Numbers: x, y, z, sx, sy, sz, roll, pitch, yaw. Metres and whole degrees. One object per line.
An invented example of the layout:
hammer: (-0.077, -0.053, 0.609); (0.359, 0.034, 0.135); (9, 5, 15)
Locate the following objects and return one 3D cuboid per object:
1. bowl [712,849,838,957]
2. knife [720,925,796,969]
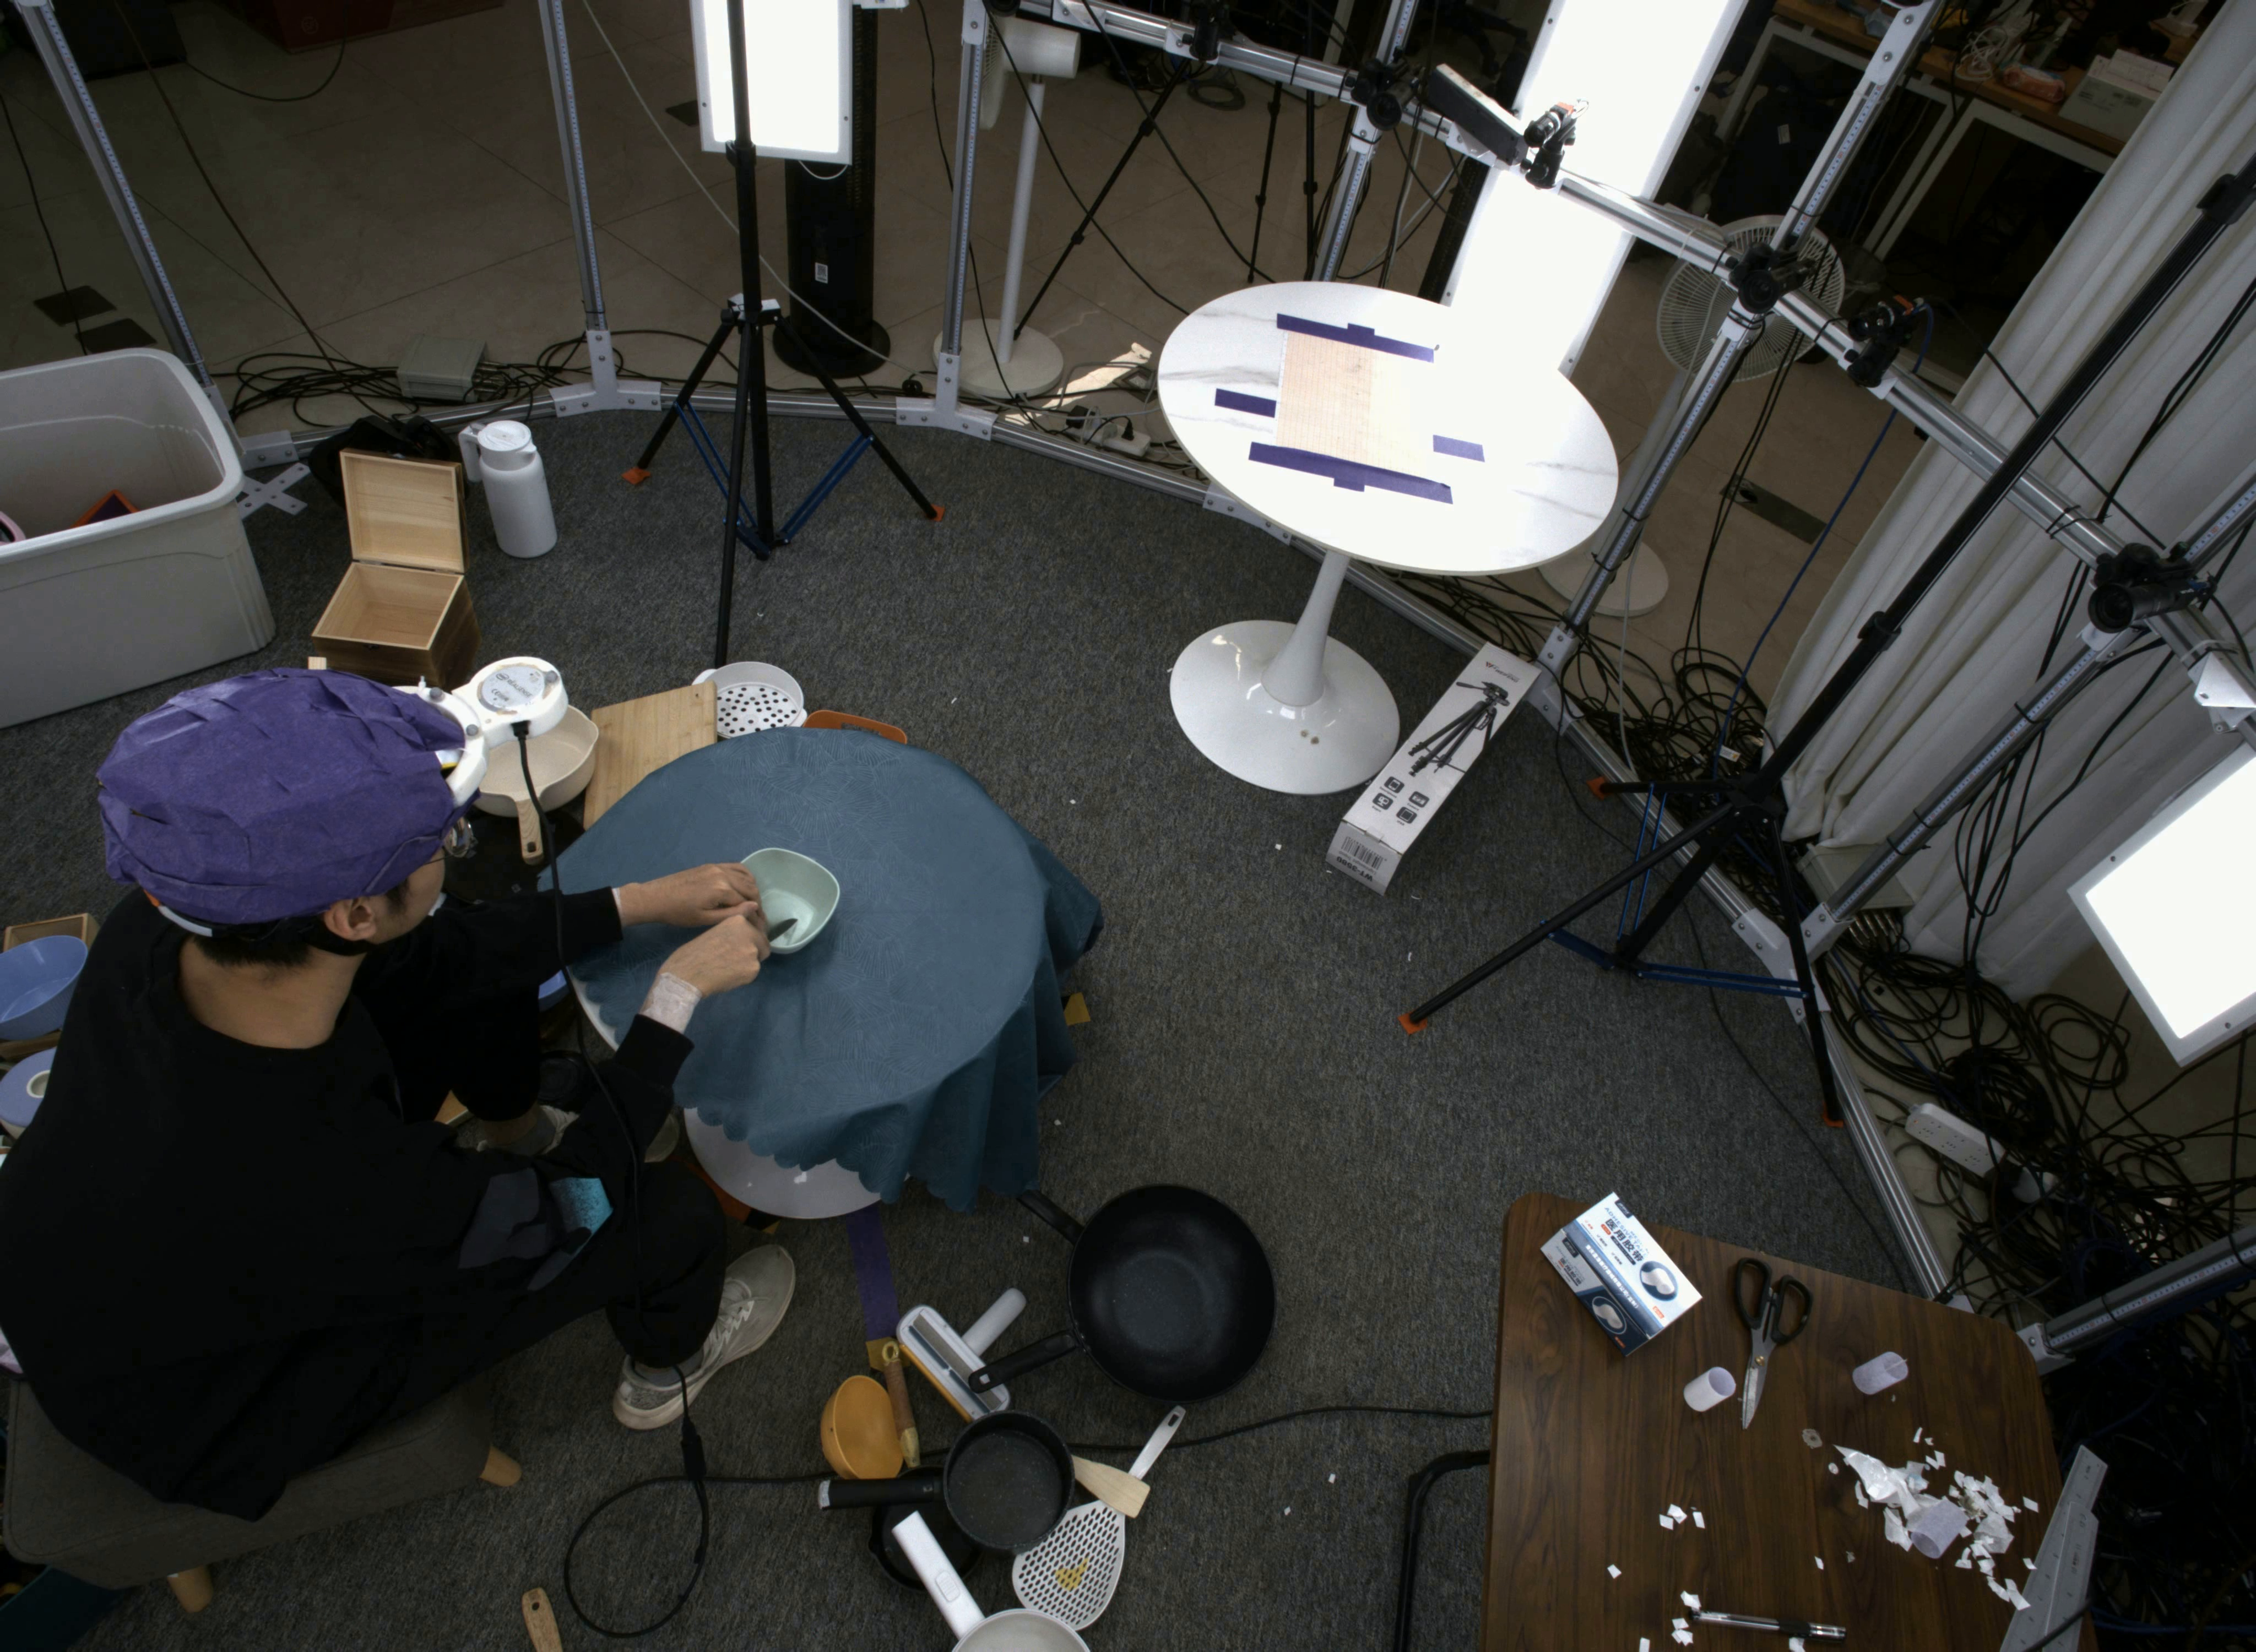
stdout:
bowl: (-0.434, 0.103, 1.598); (0.151, 0.060, 0.149); (9, 52, -10)
knife: (-0.427, 0.133, 1.511); (0.017, 0.026, 0.225); (8, 7, 5)
